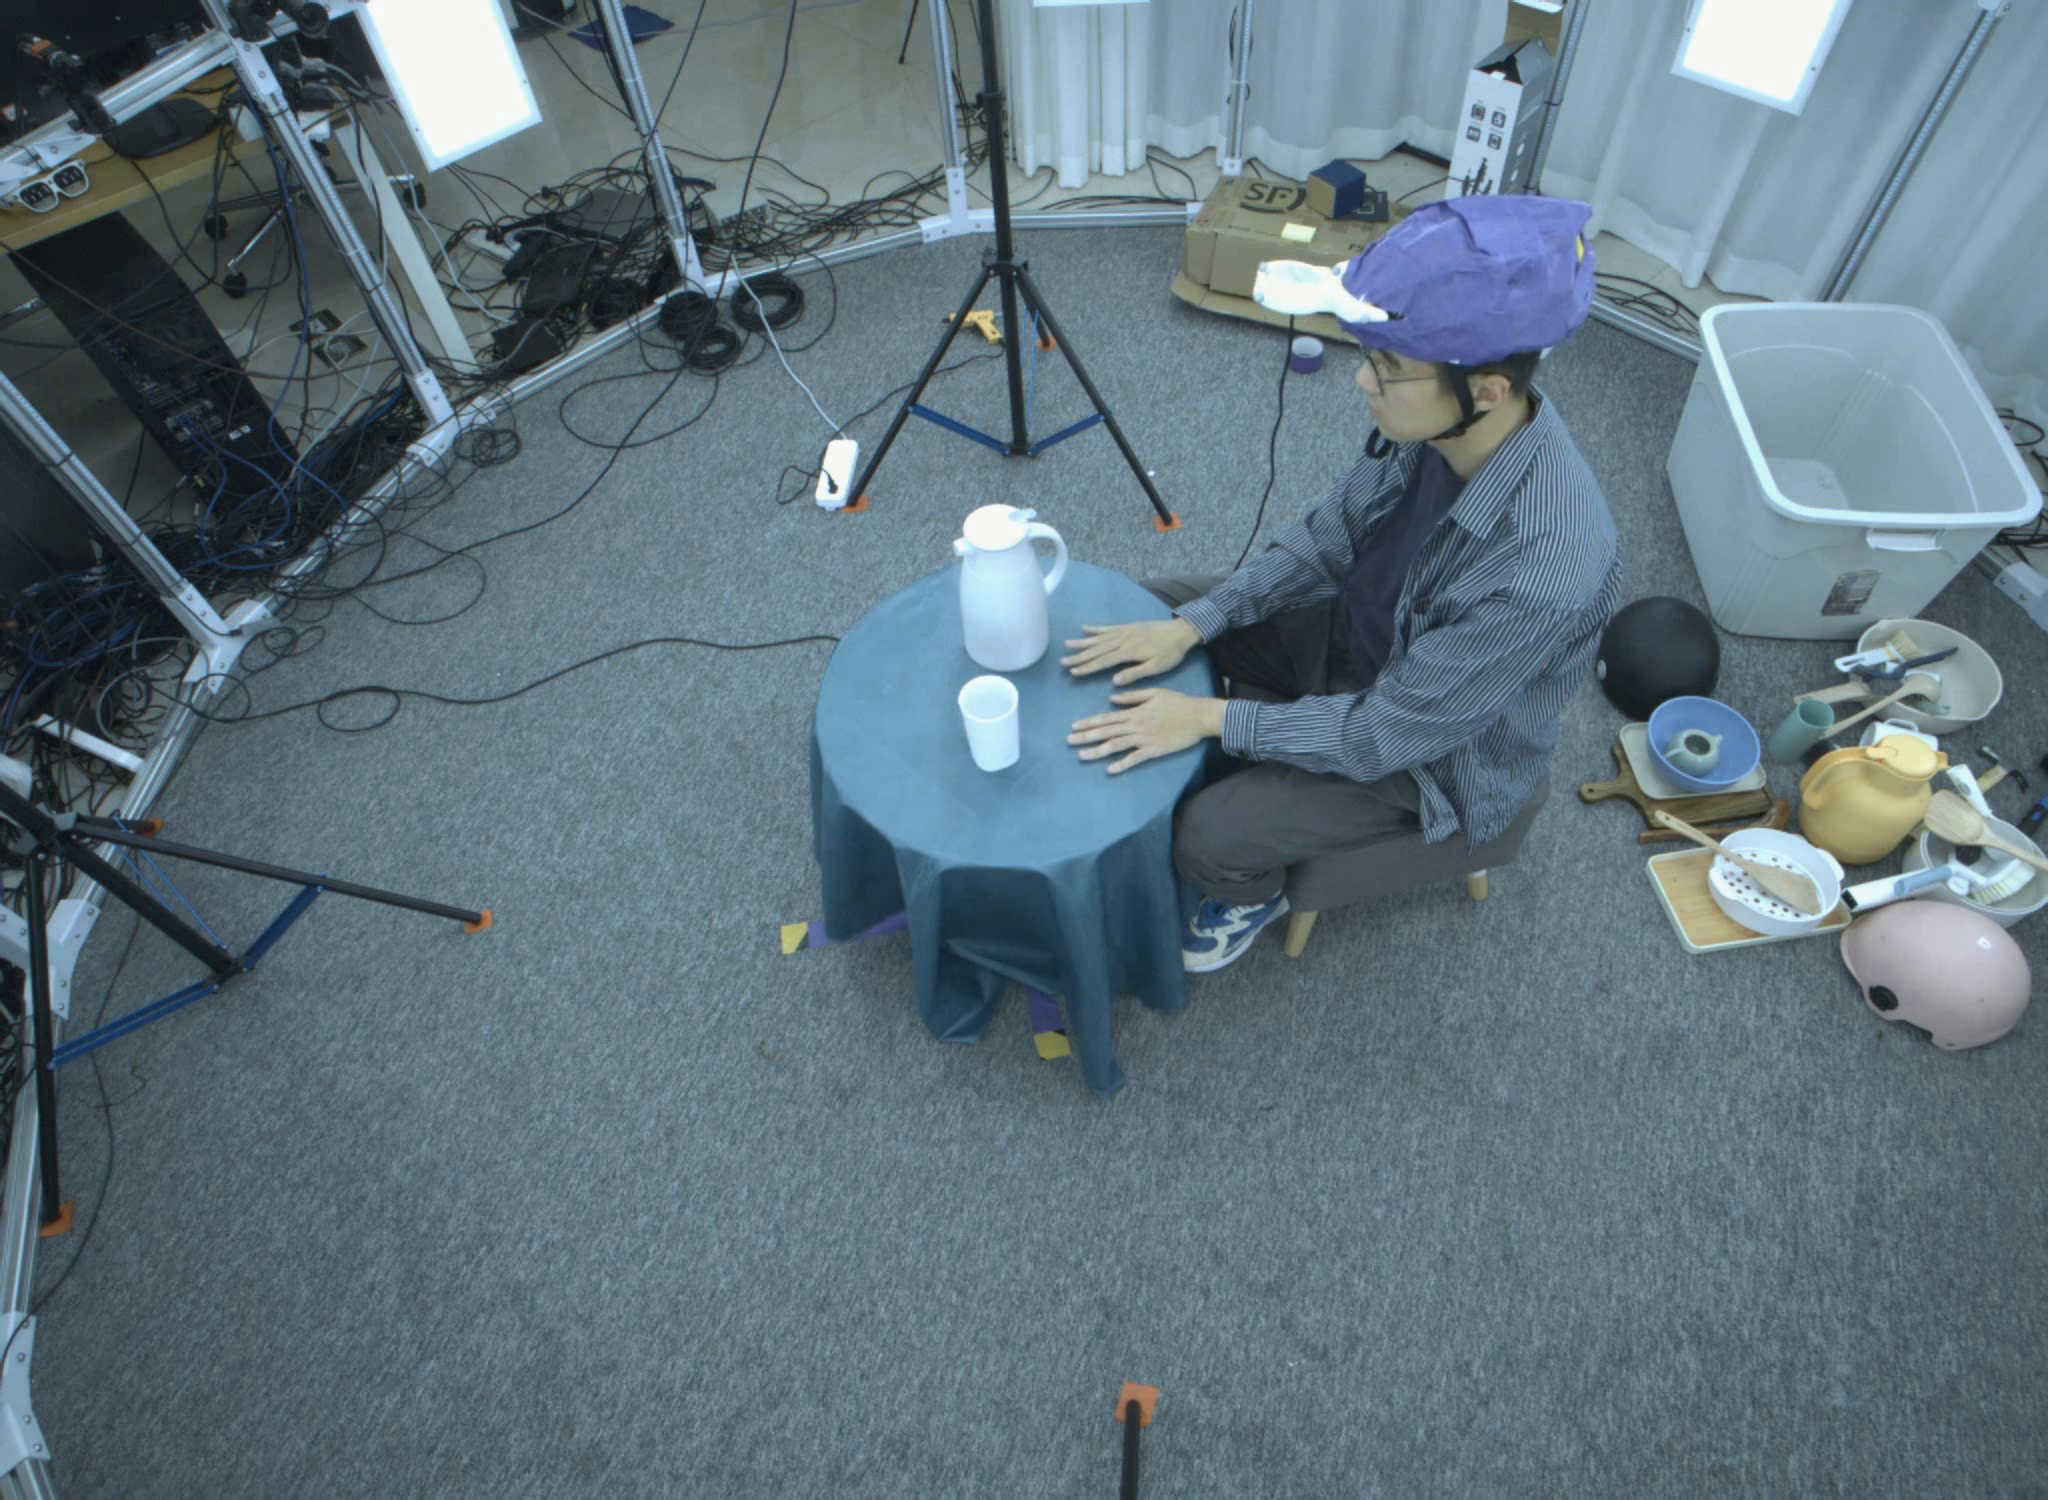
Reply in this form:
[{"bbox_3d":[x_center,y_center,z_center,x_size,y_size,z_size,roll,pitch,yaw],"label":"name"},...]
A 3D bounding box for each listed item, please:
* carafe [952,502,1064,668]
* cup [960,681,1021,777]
[{"bbox_3d":[-0.017,-0.258,1.817,0.169,0.252,0.130,-27,55,-13],"label":"carafe"},{"bbox_3d":[-0.043,-0.026,1.731,0.081,0.127,0.081,-1,54,3],"label":"cup"}]
